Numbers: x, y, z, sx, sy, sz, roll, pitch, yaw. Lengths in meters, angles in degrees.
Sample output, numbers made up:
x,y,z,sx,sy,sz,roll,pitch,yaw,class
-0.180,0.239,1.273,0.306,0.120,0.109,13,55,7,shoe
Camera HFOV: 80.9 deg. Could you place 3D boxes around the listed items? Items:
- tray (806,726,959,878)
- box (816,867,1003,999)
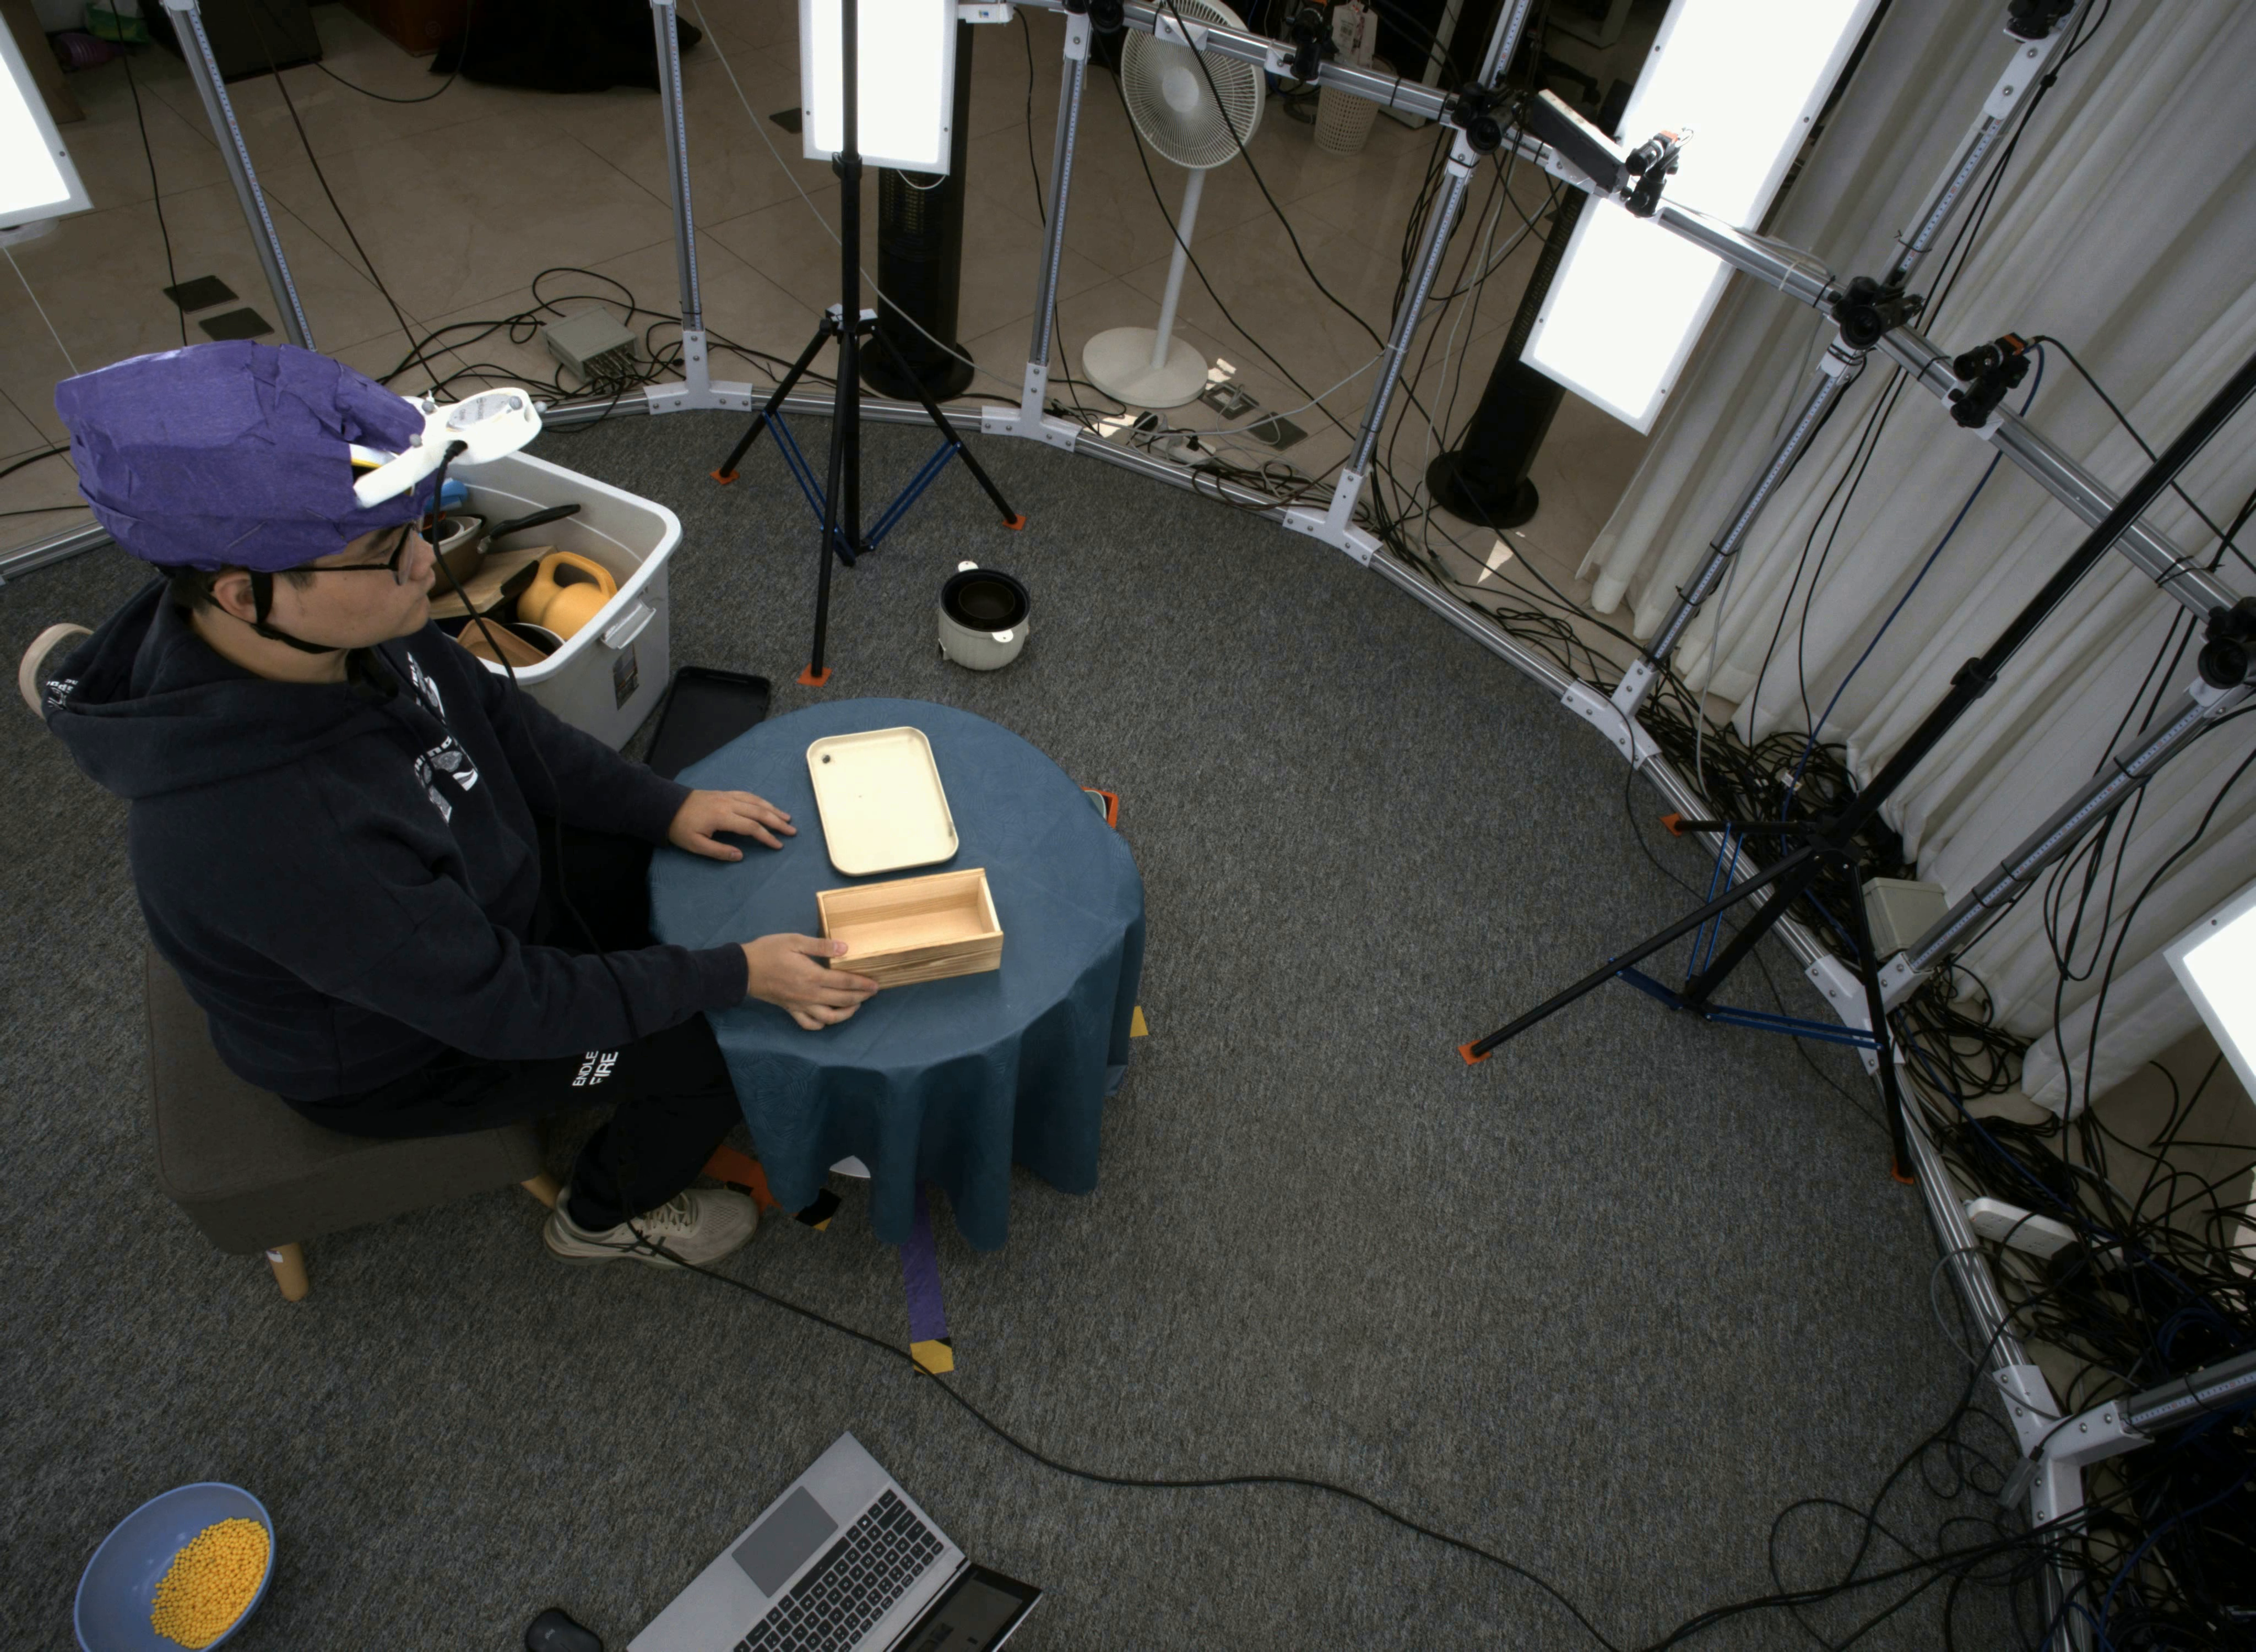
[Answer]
x,y,z,sx,sy,sz,roll,pitch,yaw,class
-0.334,-0.035,1.758,0.172,0.018,0.234,-9,57,-20,tray
-0.270,0.129,1.611,0.212,0.082,0.105,-9,55,-20,box
